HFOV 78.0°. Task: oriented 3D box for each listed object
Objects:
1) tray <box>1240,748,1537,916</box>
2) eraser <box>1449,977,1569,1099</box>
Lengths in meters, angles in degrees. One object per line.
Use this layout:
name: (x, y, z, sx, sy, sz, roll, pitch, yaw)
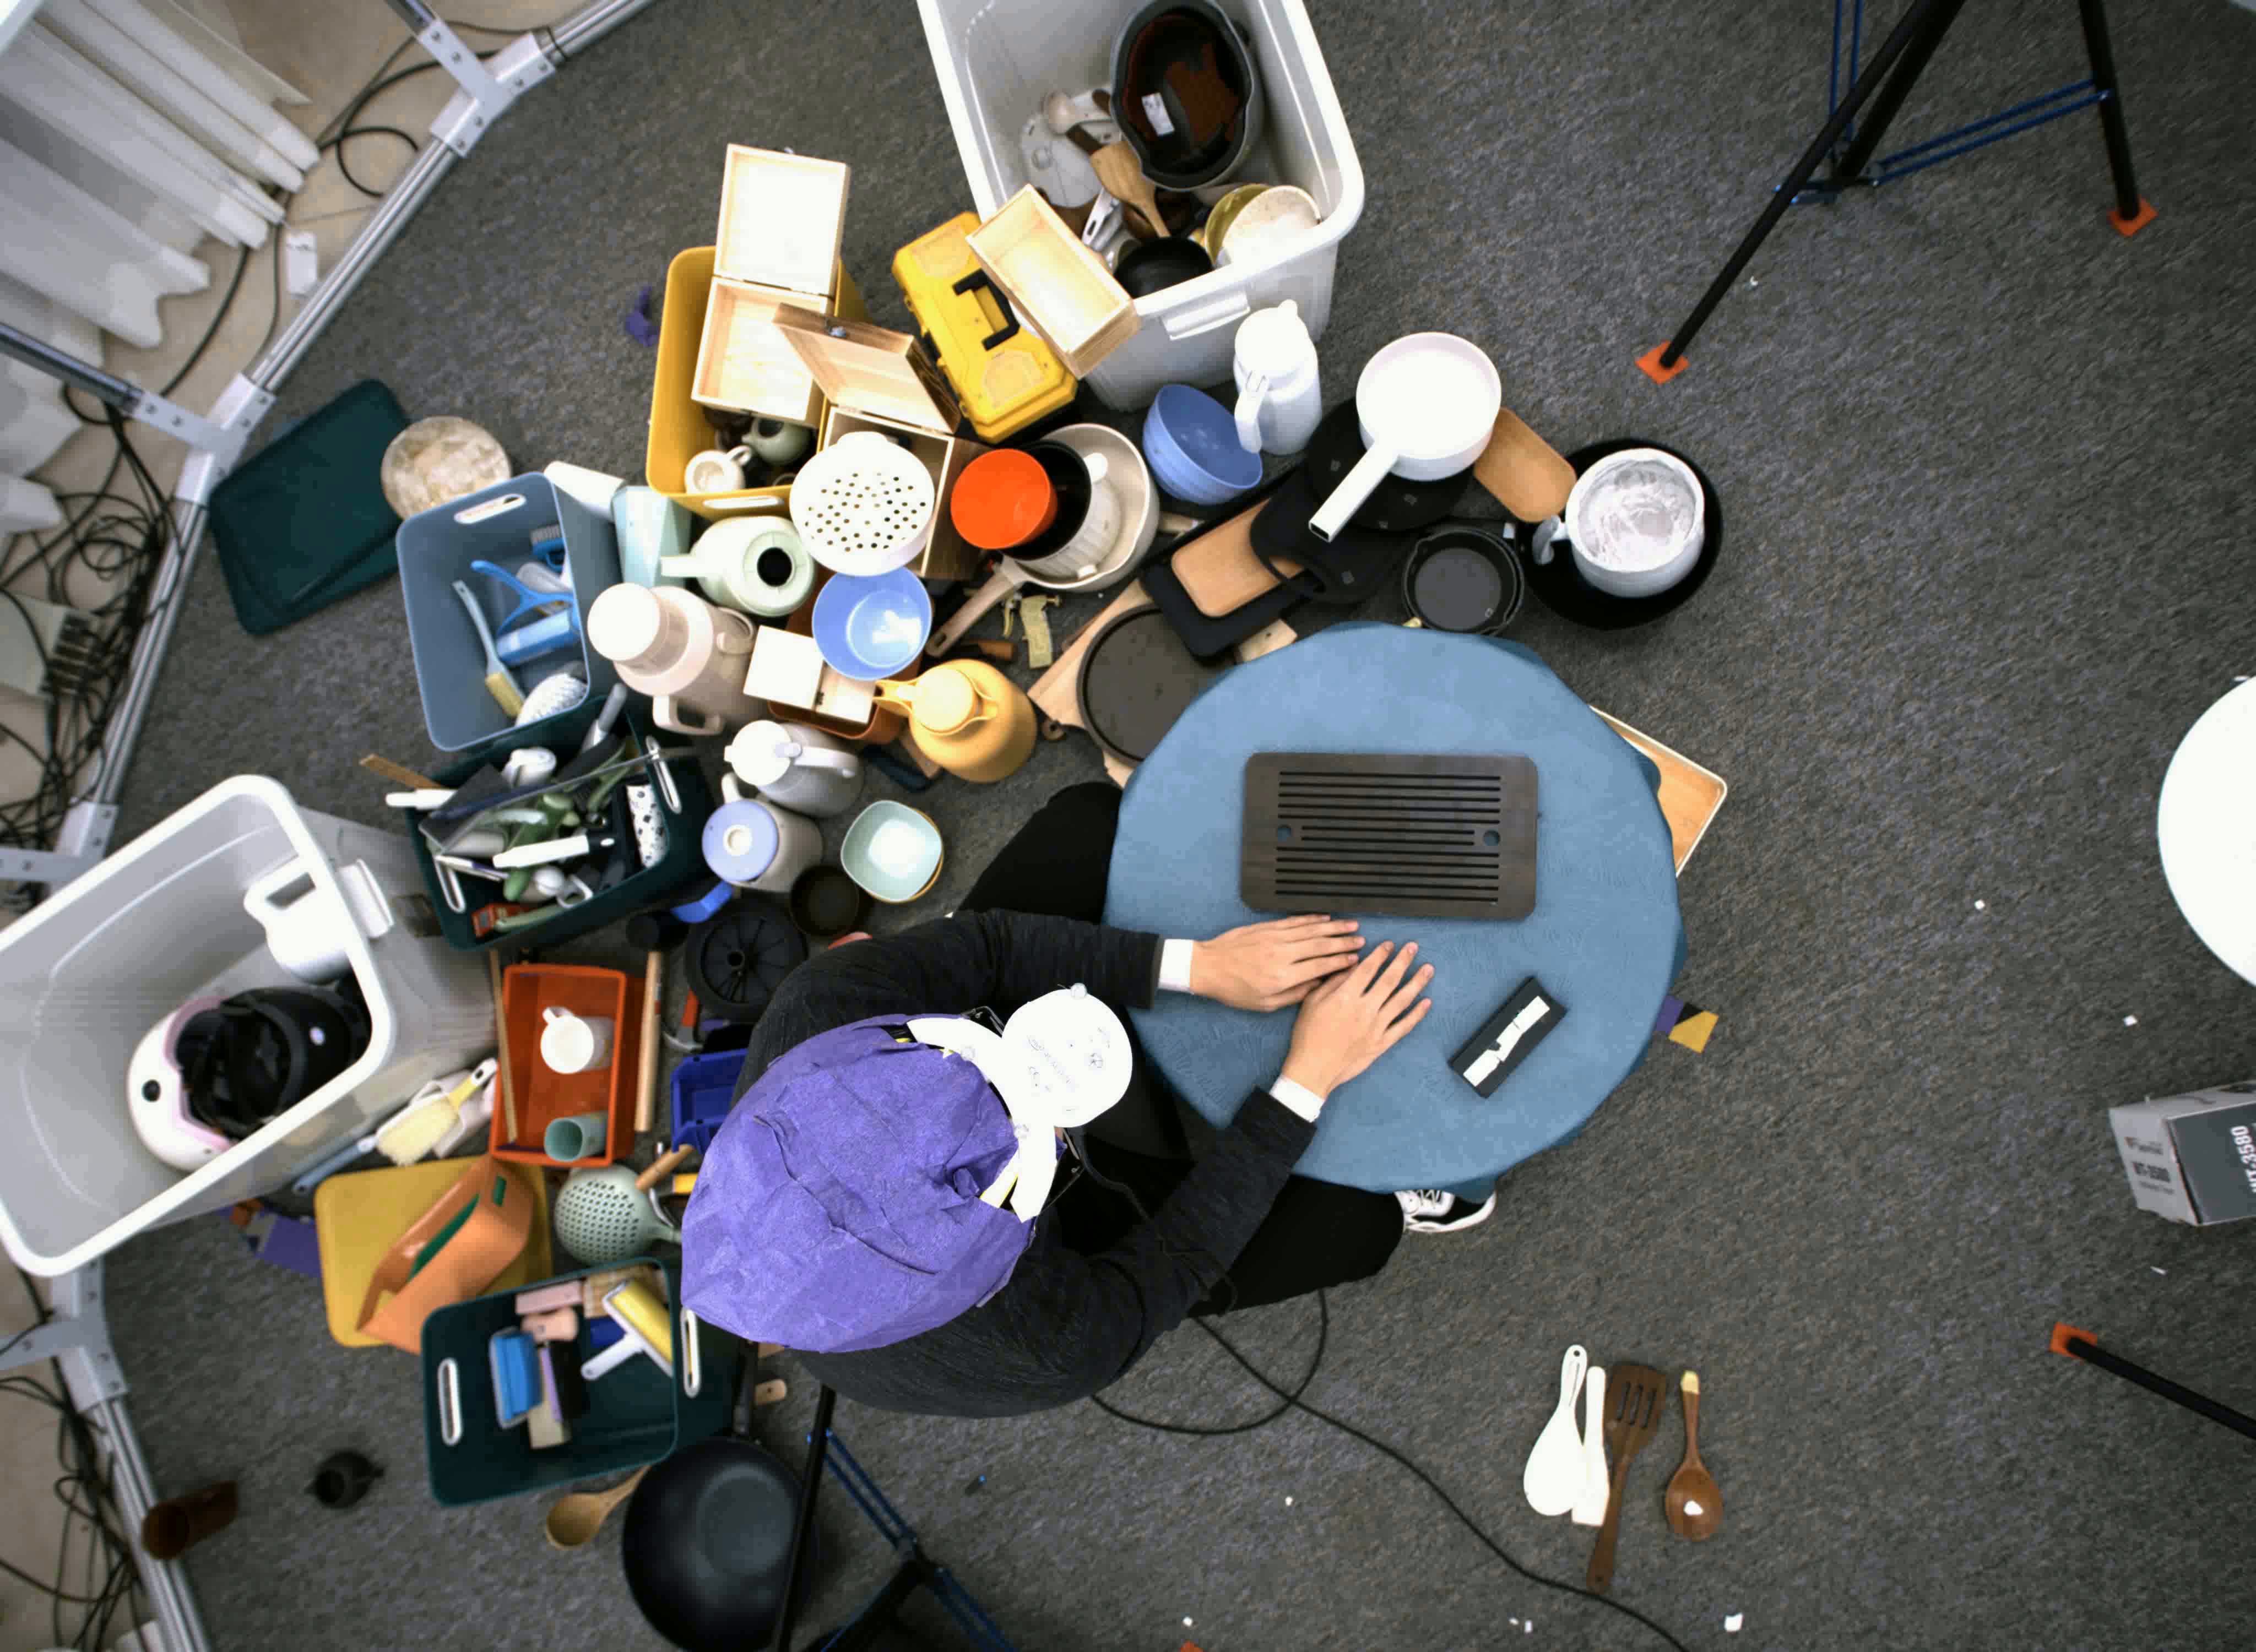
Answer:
tray: (0.273, 0.003, 1.454, 0.307, 0.018, 0.169, 2, 87, 11)
eraser: (0.391, 0.215, 1.415, 0.053, 0.030, 0.126, 43, 96, 13)
